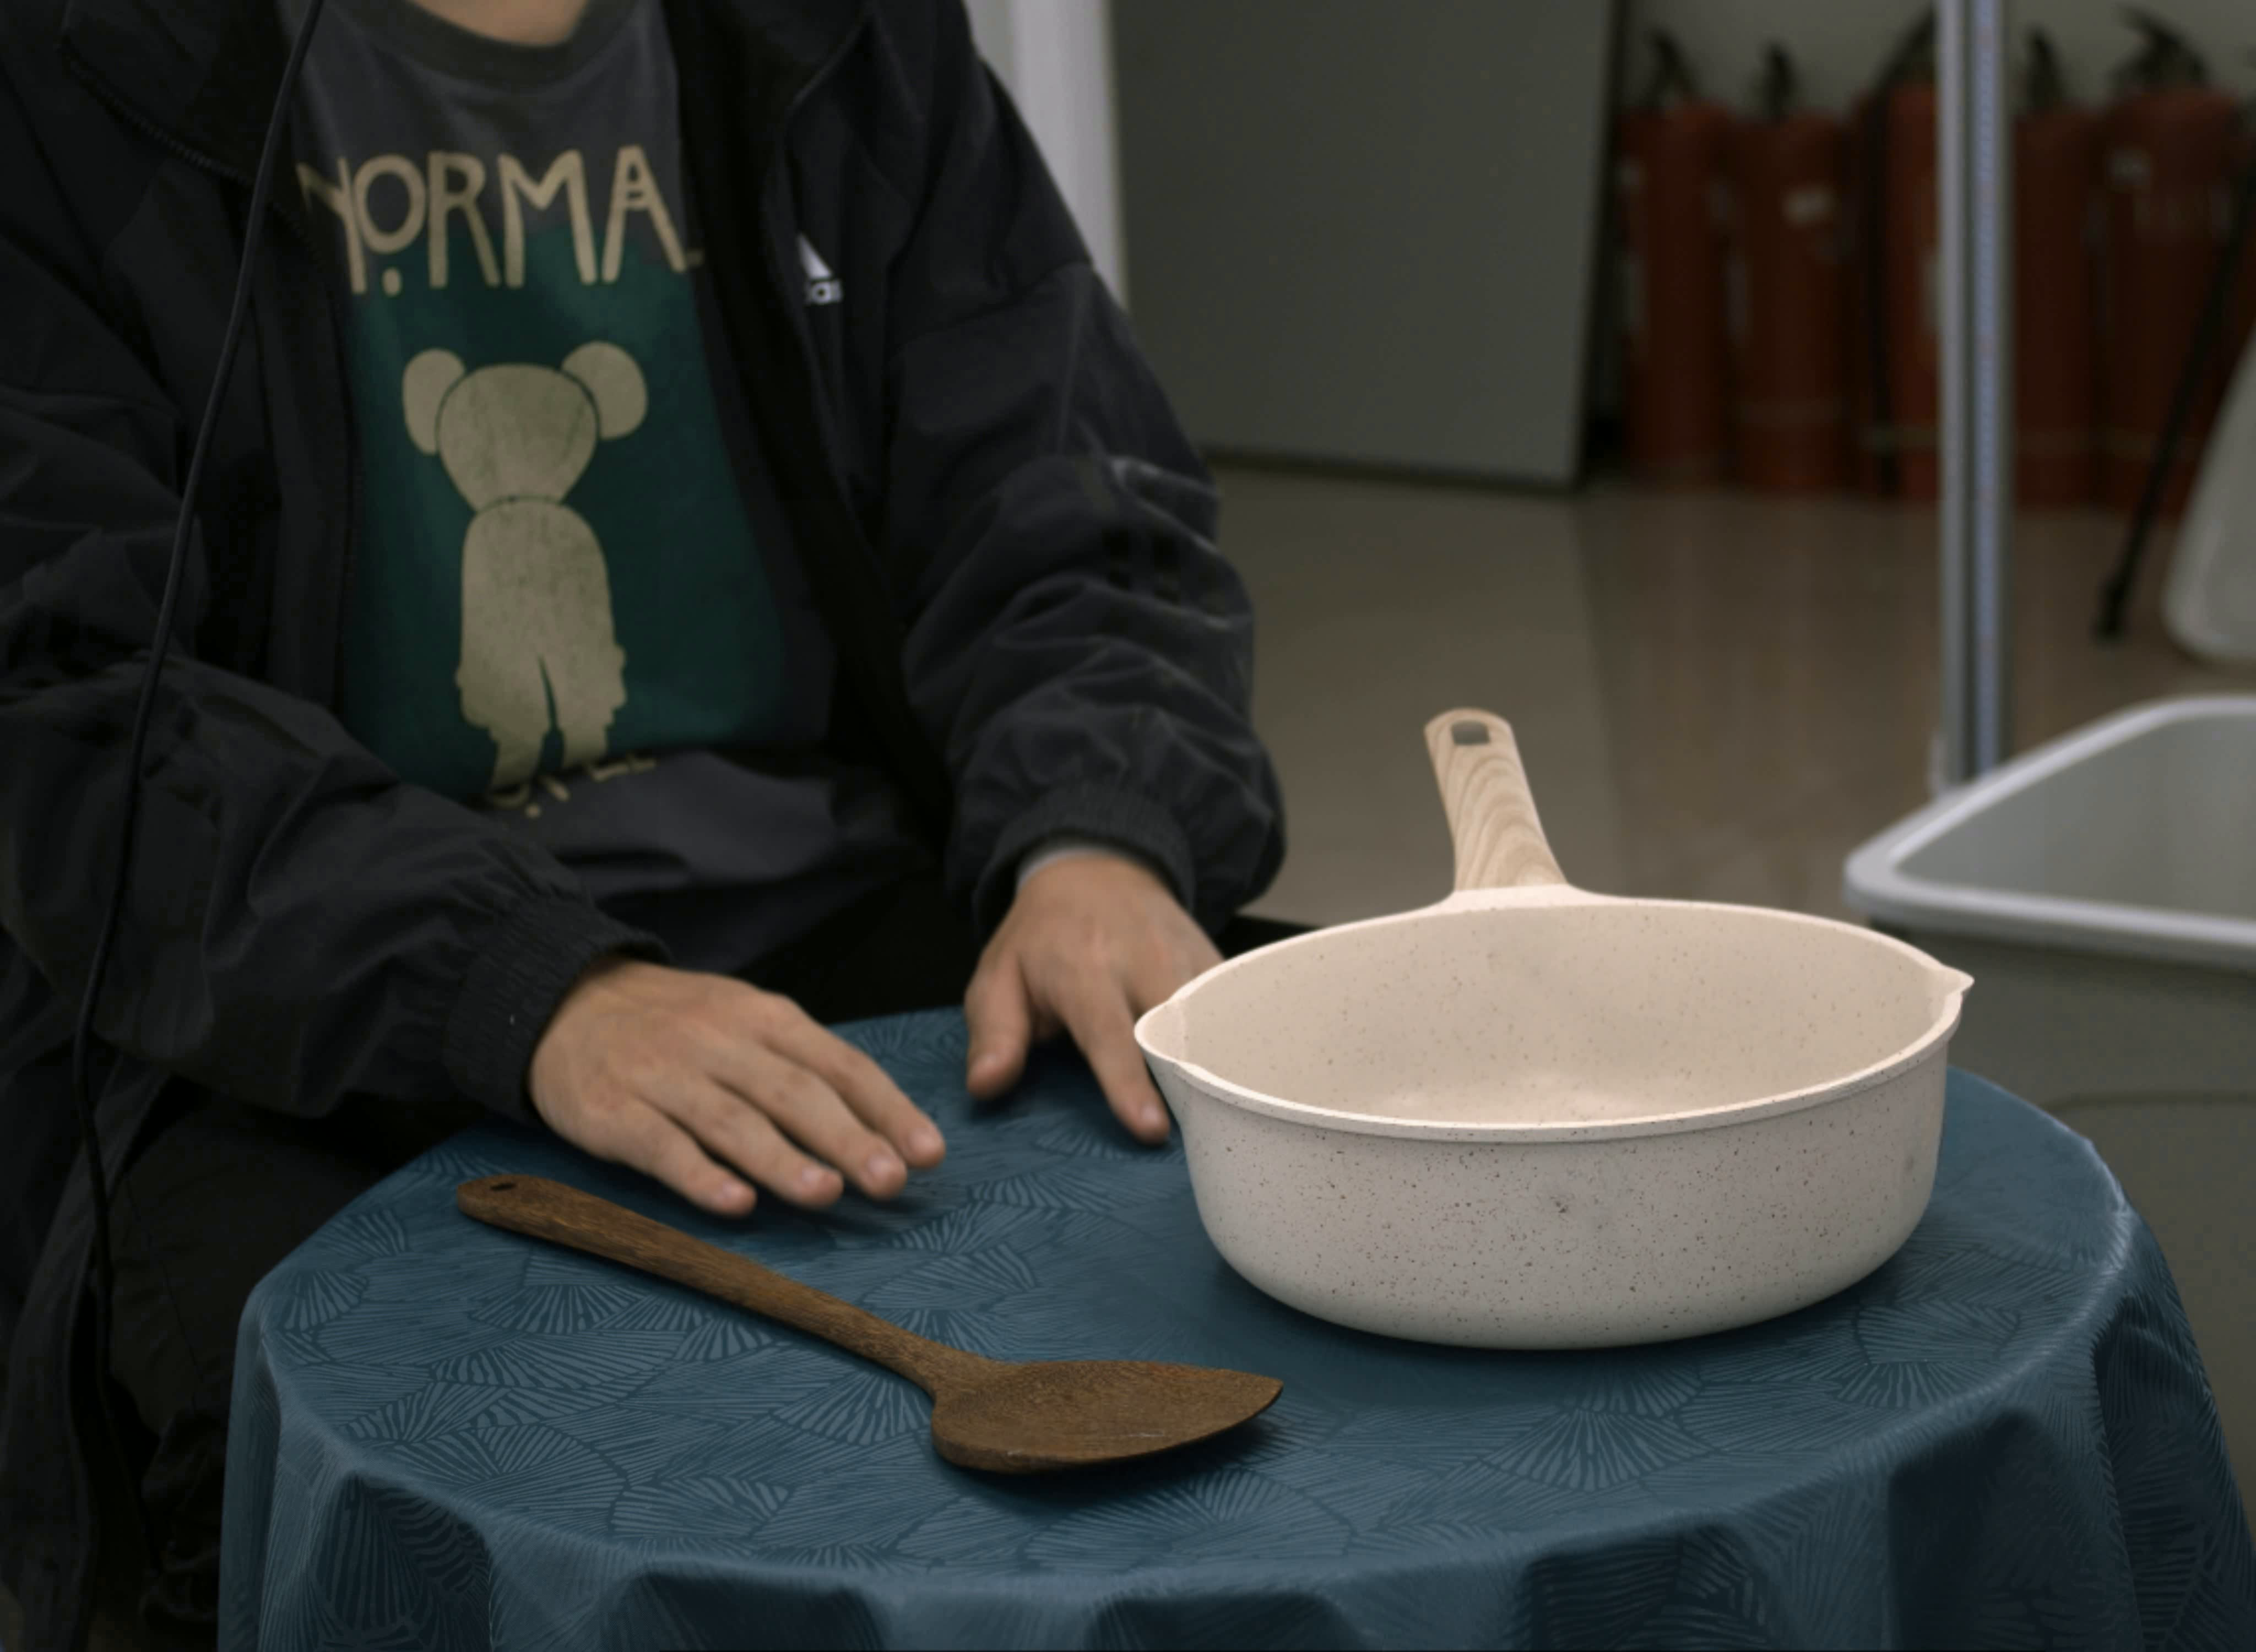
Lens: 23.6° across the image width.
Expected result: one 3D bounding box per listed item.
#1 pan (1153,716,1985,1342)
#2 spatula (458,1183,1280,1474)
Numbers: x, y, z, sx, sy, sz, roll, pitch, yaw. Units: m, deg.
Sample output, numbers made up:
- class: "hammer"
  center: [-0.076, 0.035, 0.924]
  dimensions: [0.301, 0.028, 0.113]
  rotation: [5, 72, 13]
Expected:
- class: "pan"
  center: [0.136, 0.061, 1.761]
  dimensions: [0.260, 0.103, 0.436]
  rotation: [-6, 14, 0]
- class: "spatula"
  center: [-0.101, 0.149, 1.660]
  dimensions: [0.094, 0.016, 0.390]
  rotation: [-13, 16, -36]
